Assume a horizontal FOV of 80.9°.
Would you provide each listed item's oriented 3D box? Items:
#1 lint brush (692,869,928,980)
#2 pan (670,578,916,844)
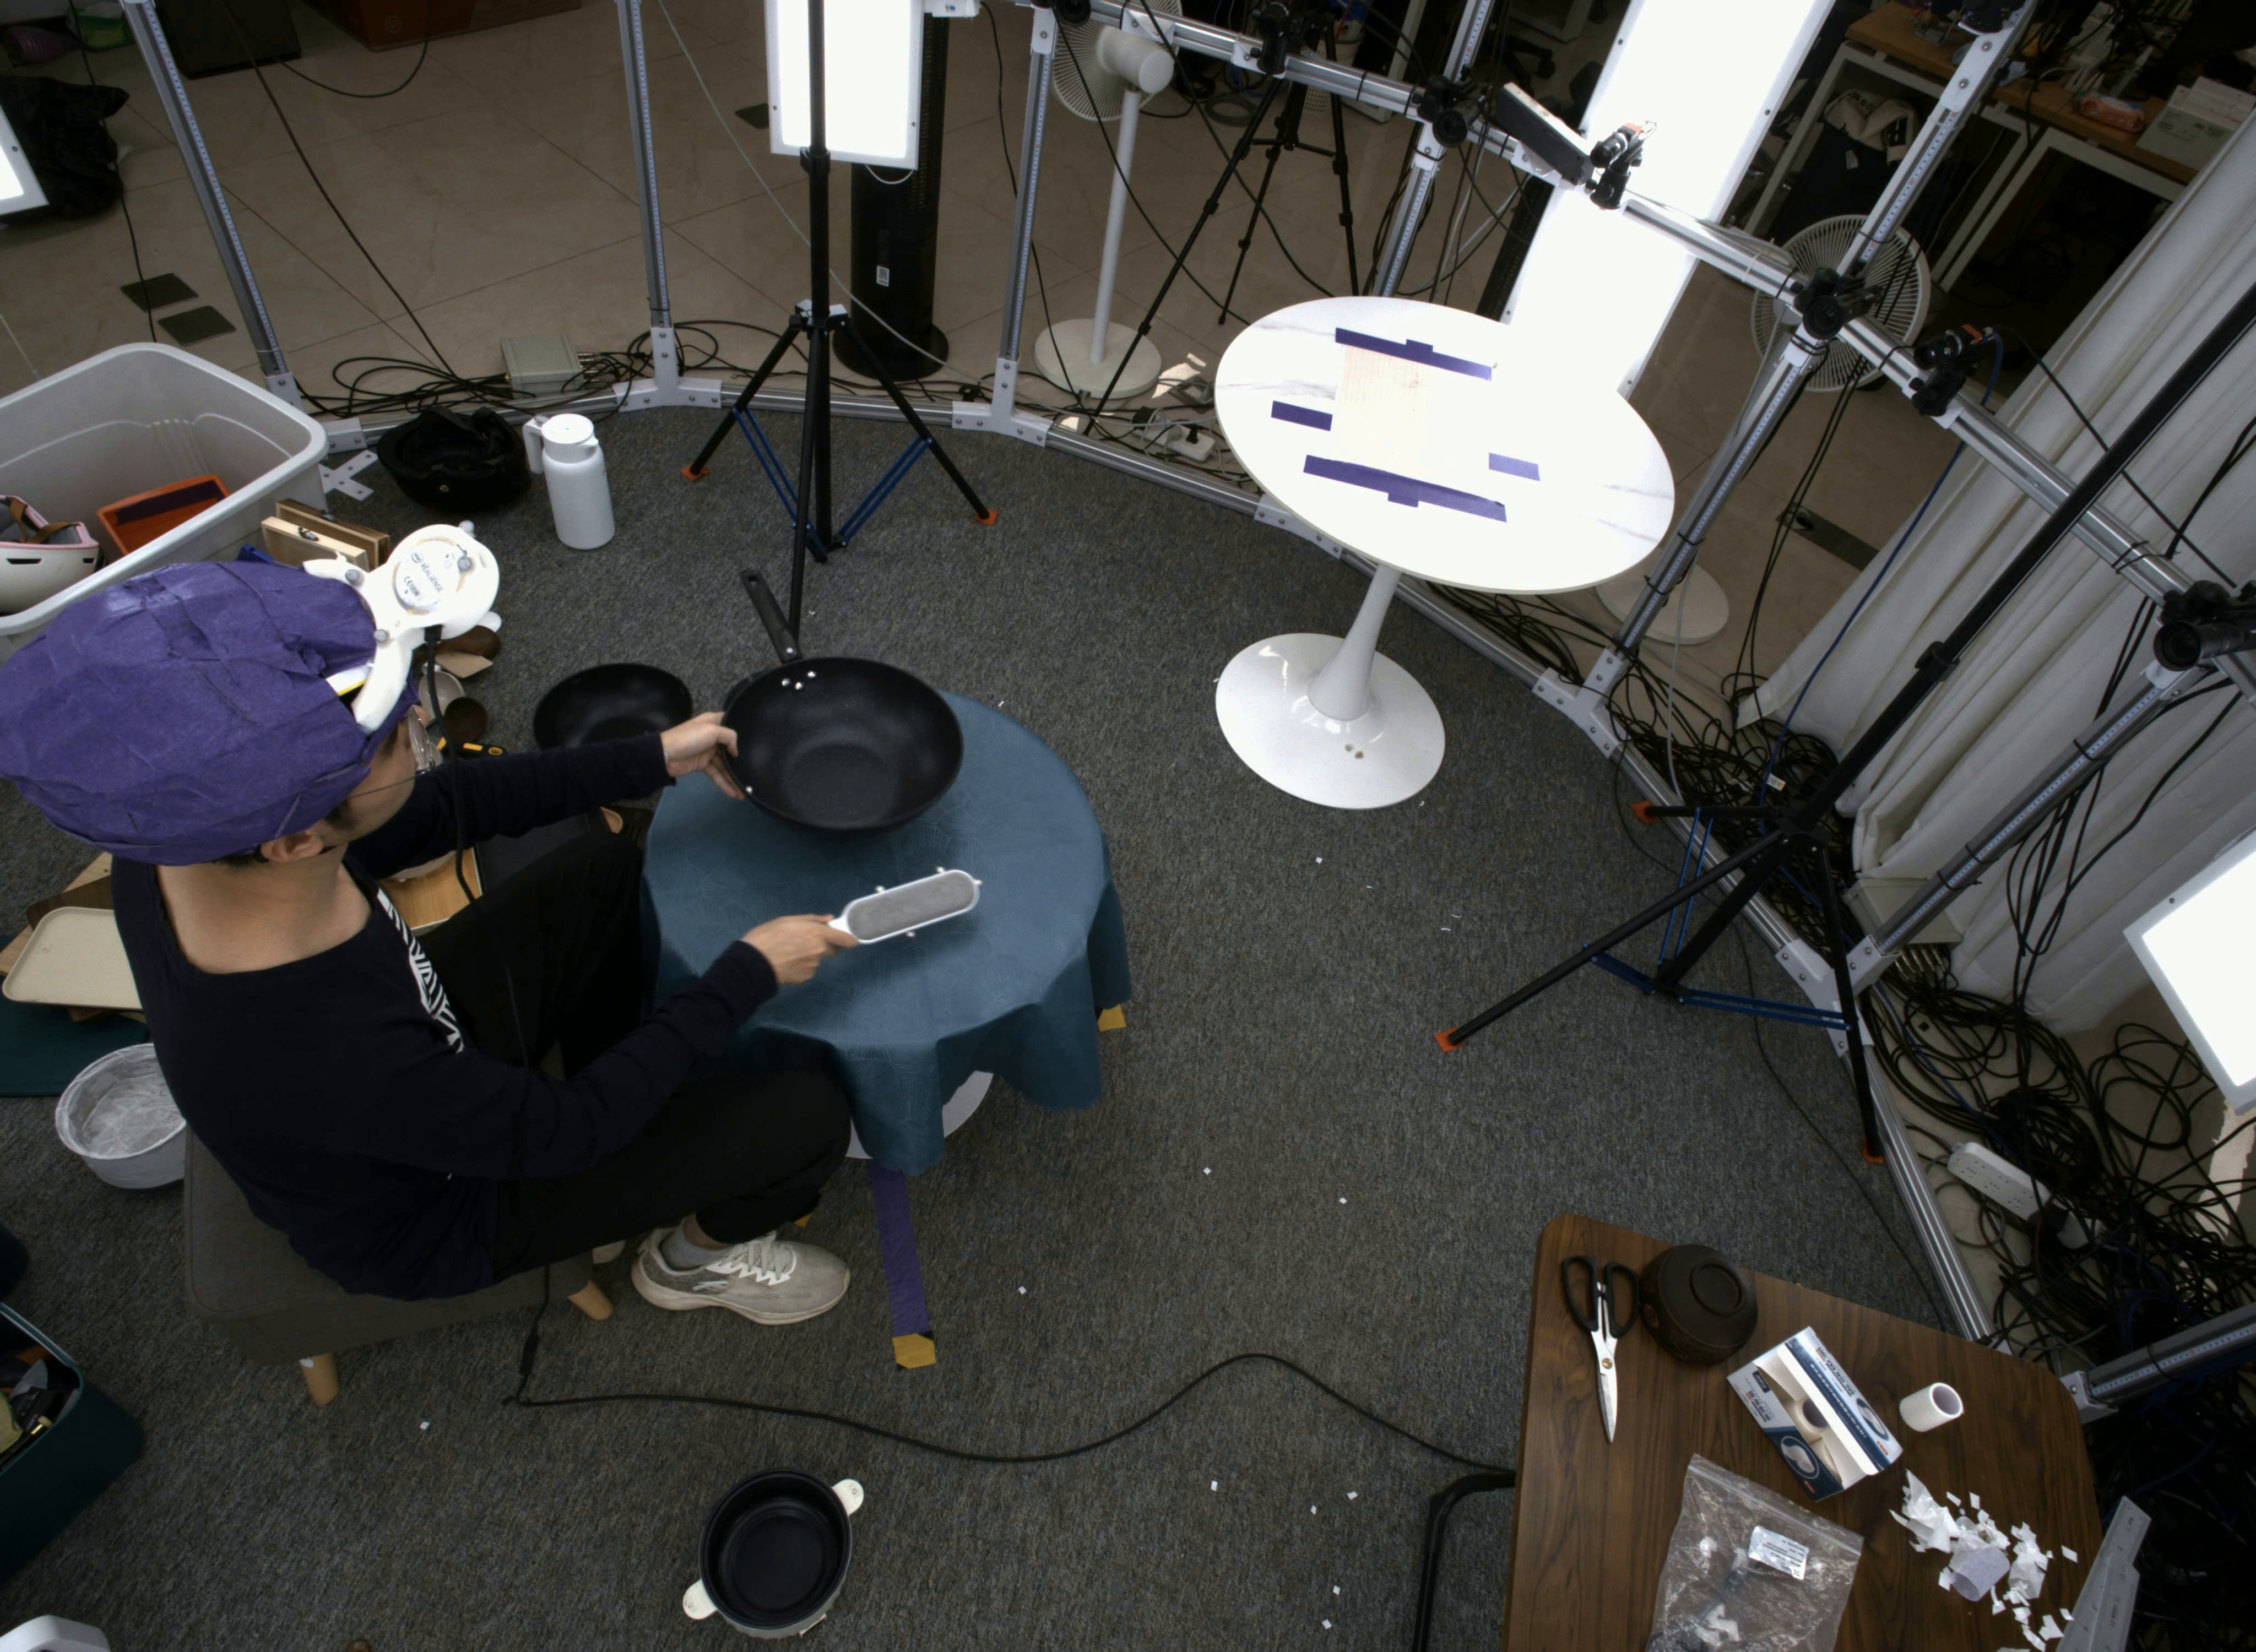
[{"bbox_3d":[-0.380,0.118,1.573,0.311,0.020,0.061,-21,94,-32],"label":"lint brush"},{"bbox_3d":[-0.478,-0.146,1.705,0.312,0.114,0.464,-23,59,-33],"label":"pan"}]
